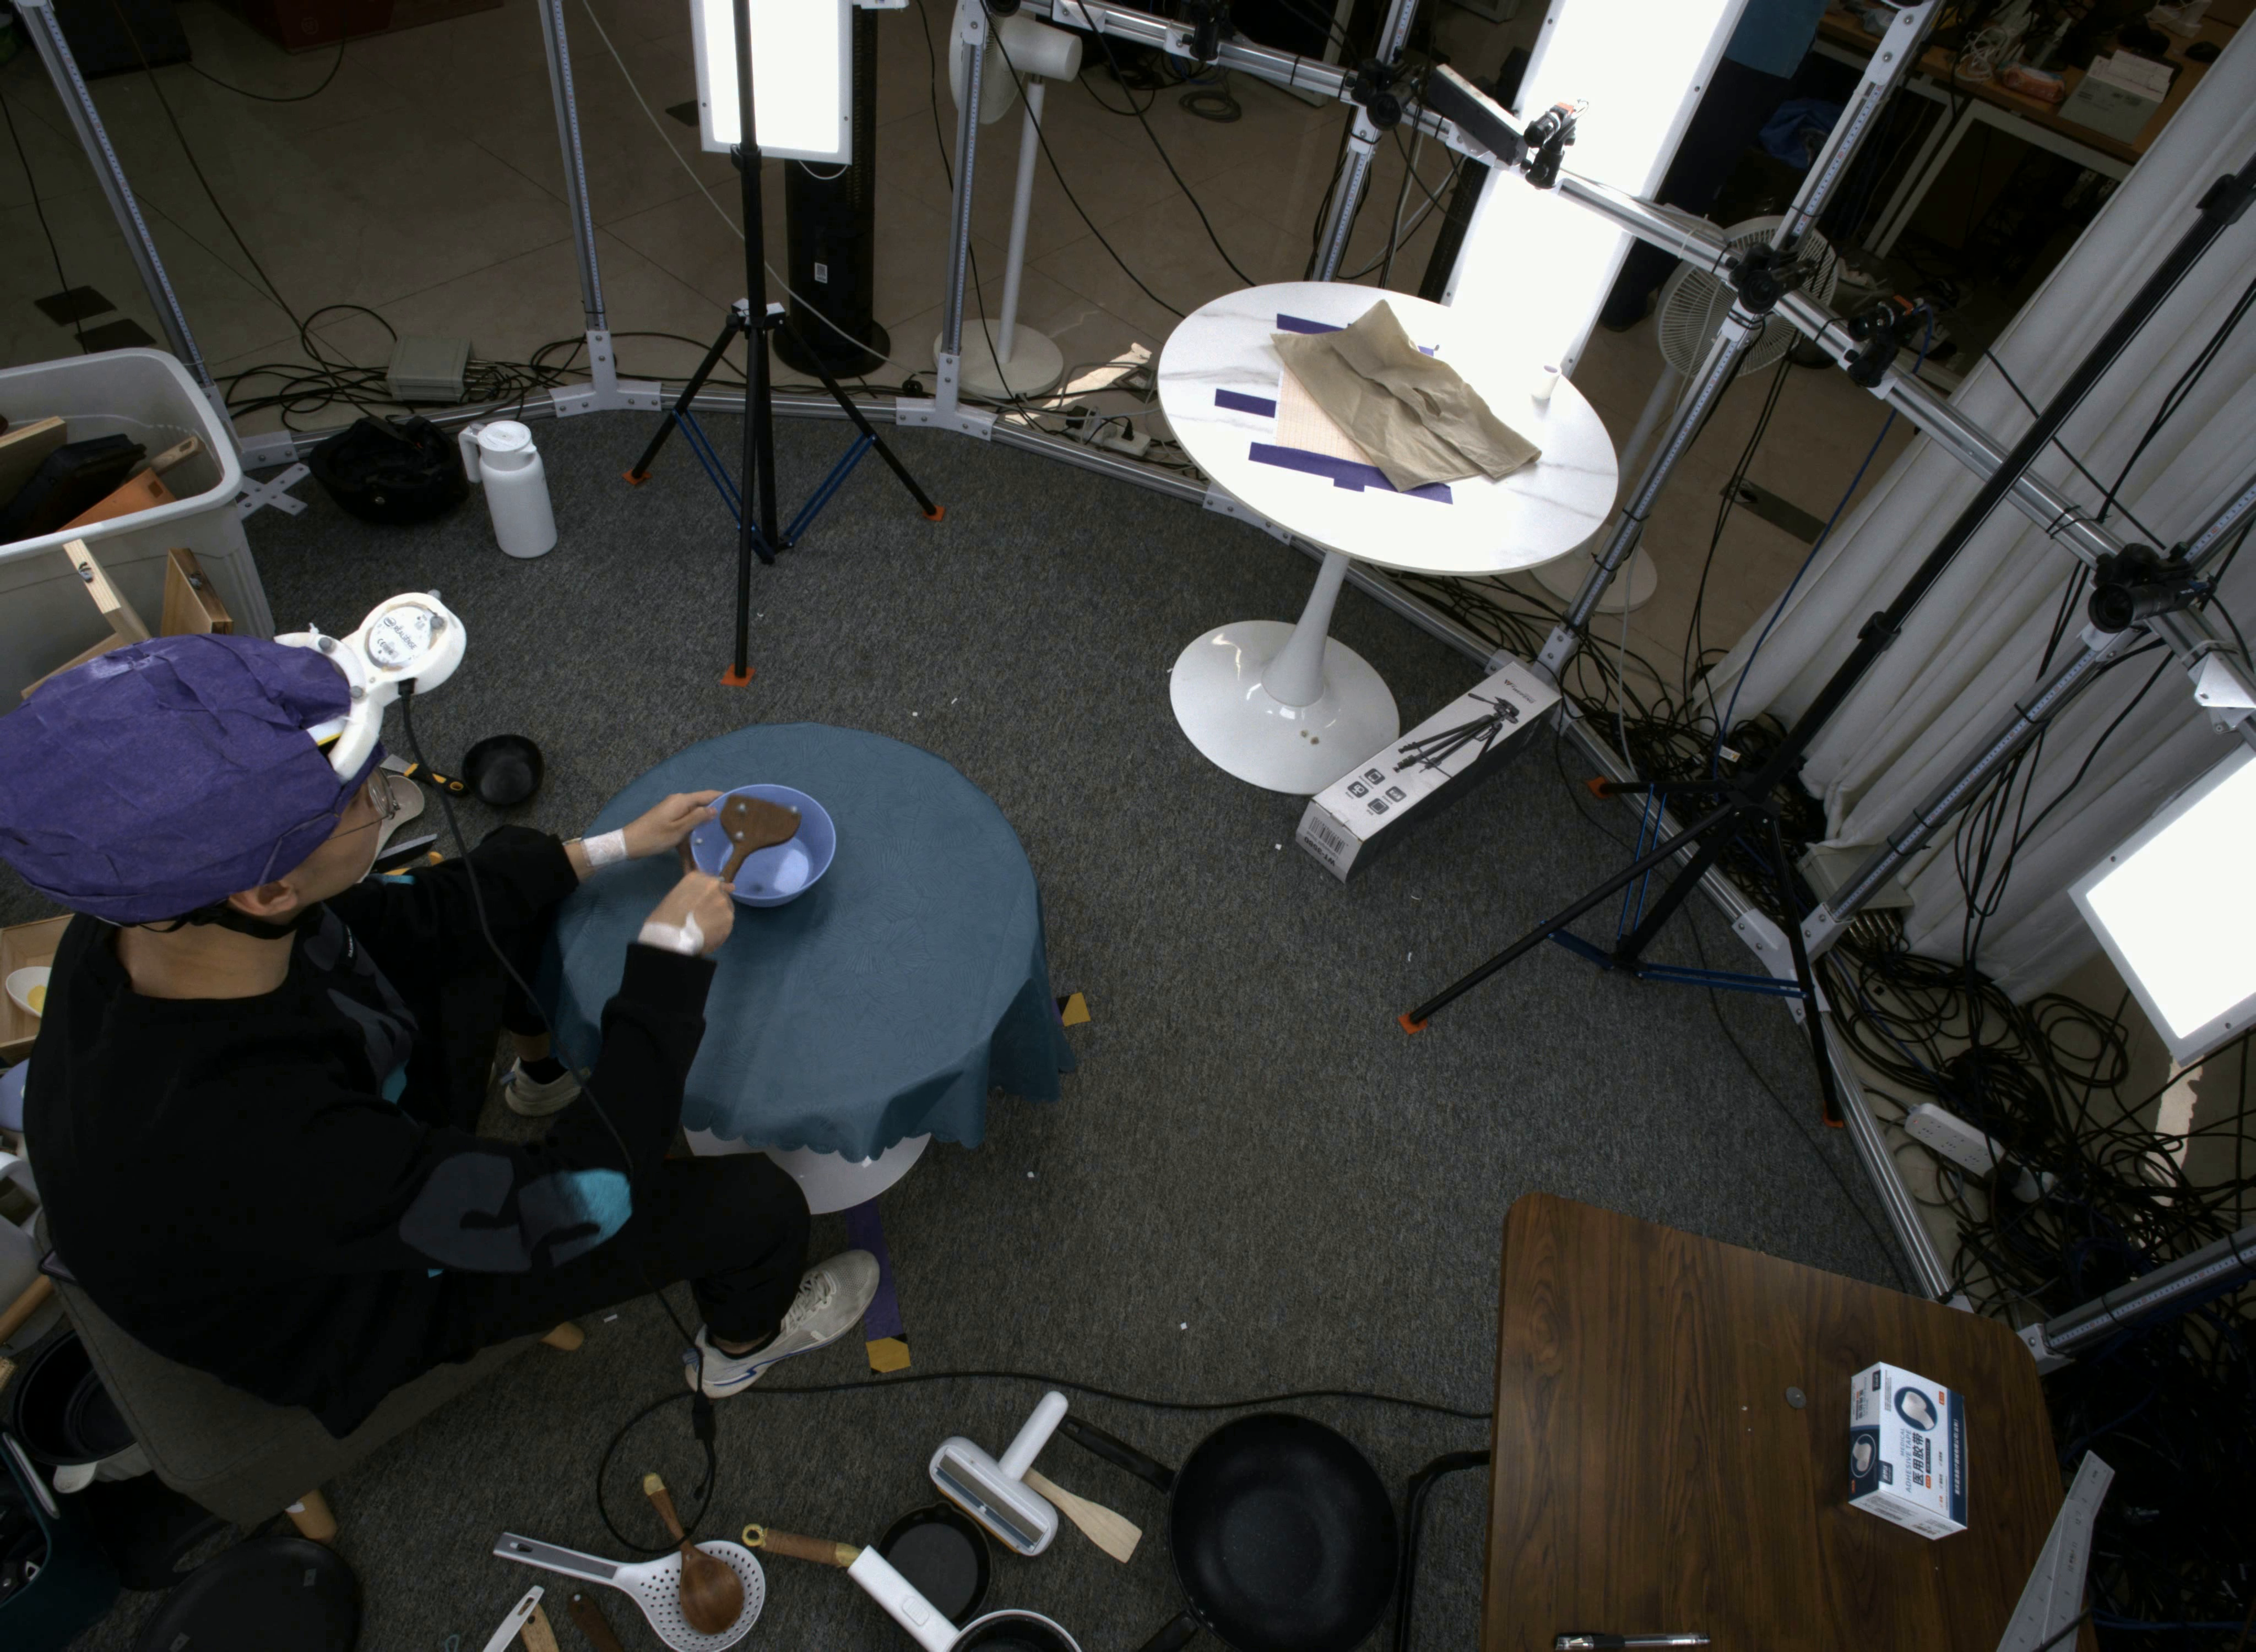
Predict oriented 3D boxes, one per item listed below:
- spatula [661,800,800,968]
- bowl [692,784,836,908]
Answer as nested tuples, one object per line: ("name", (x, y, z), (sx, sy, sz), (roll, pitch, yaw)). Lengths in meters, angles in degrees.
("spatula", (-0.448, 0.054, 1.430), (0.096, 0.016, 0.378), (17, 23, -8))
("bowl", (-0.458, 0.035, 1.639), (0.175, 0.072, 0.173), (7, 54, -8))
